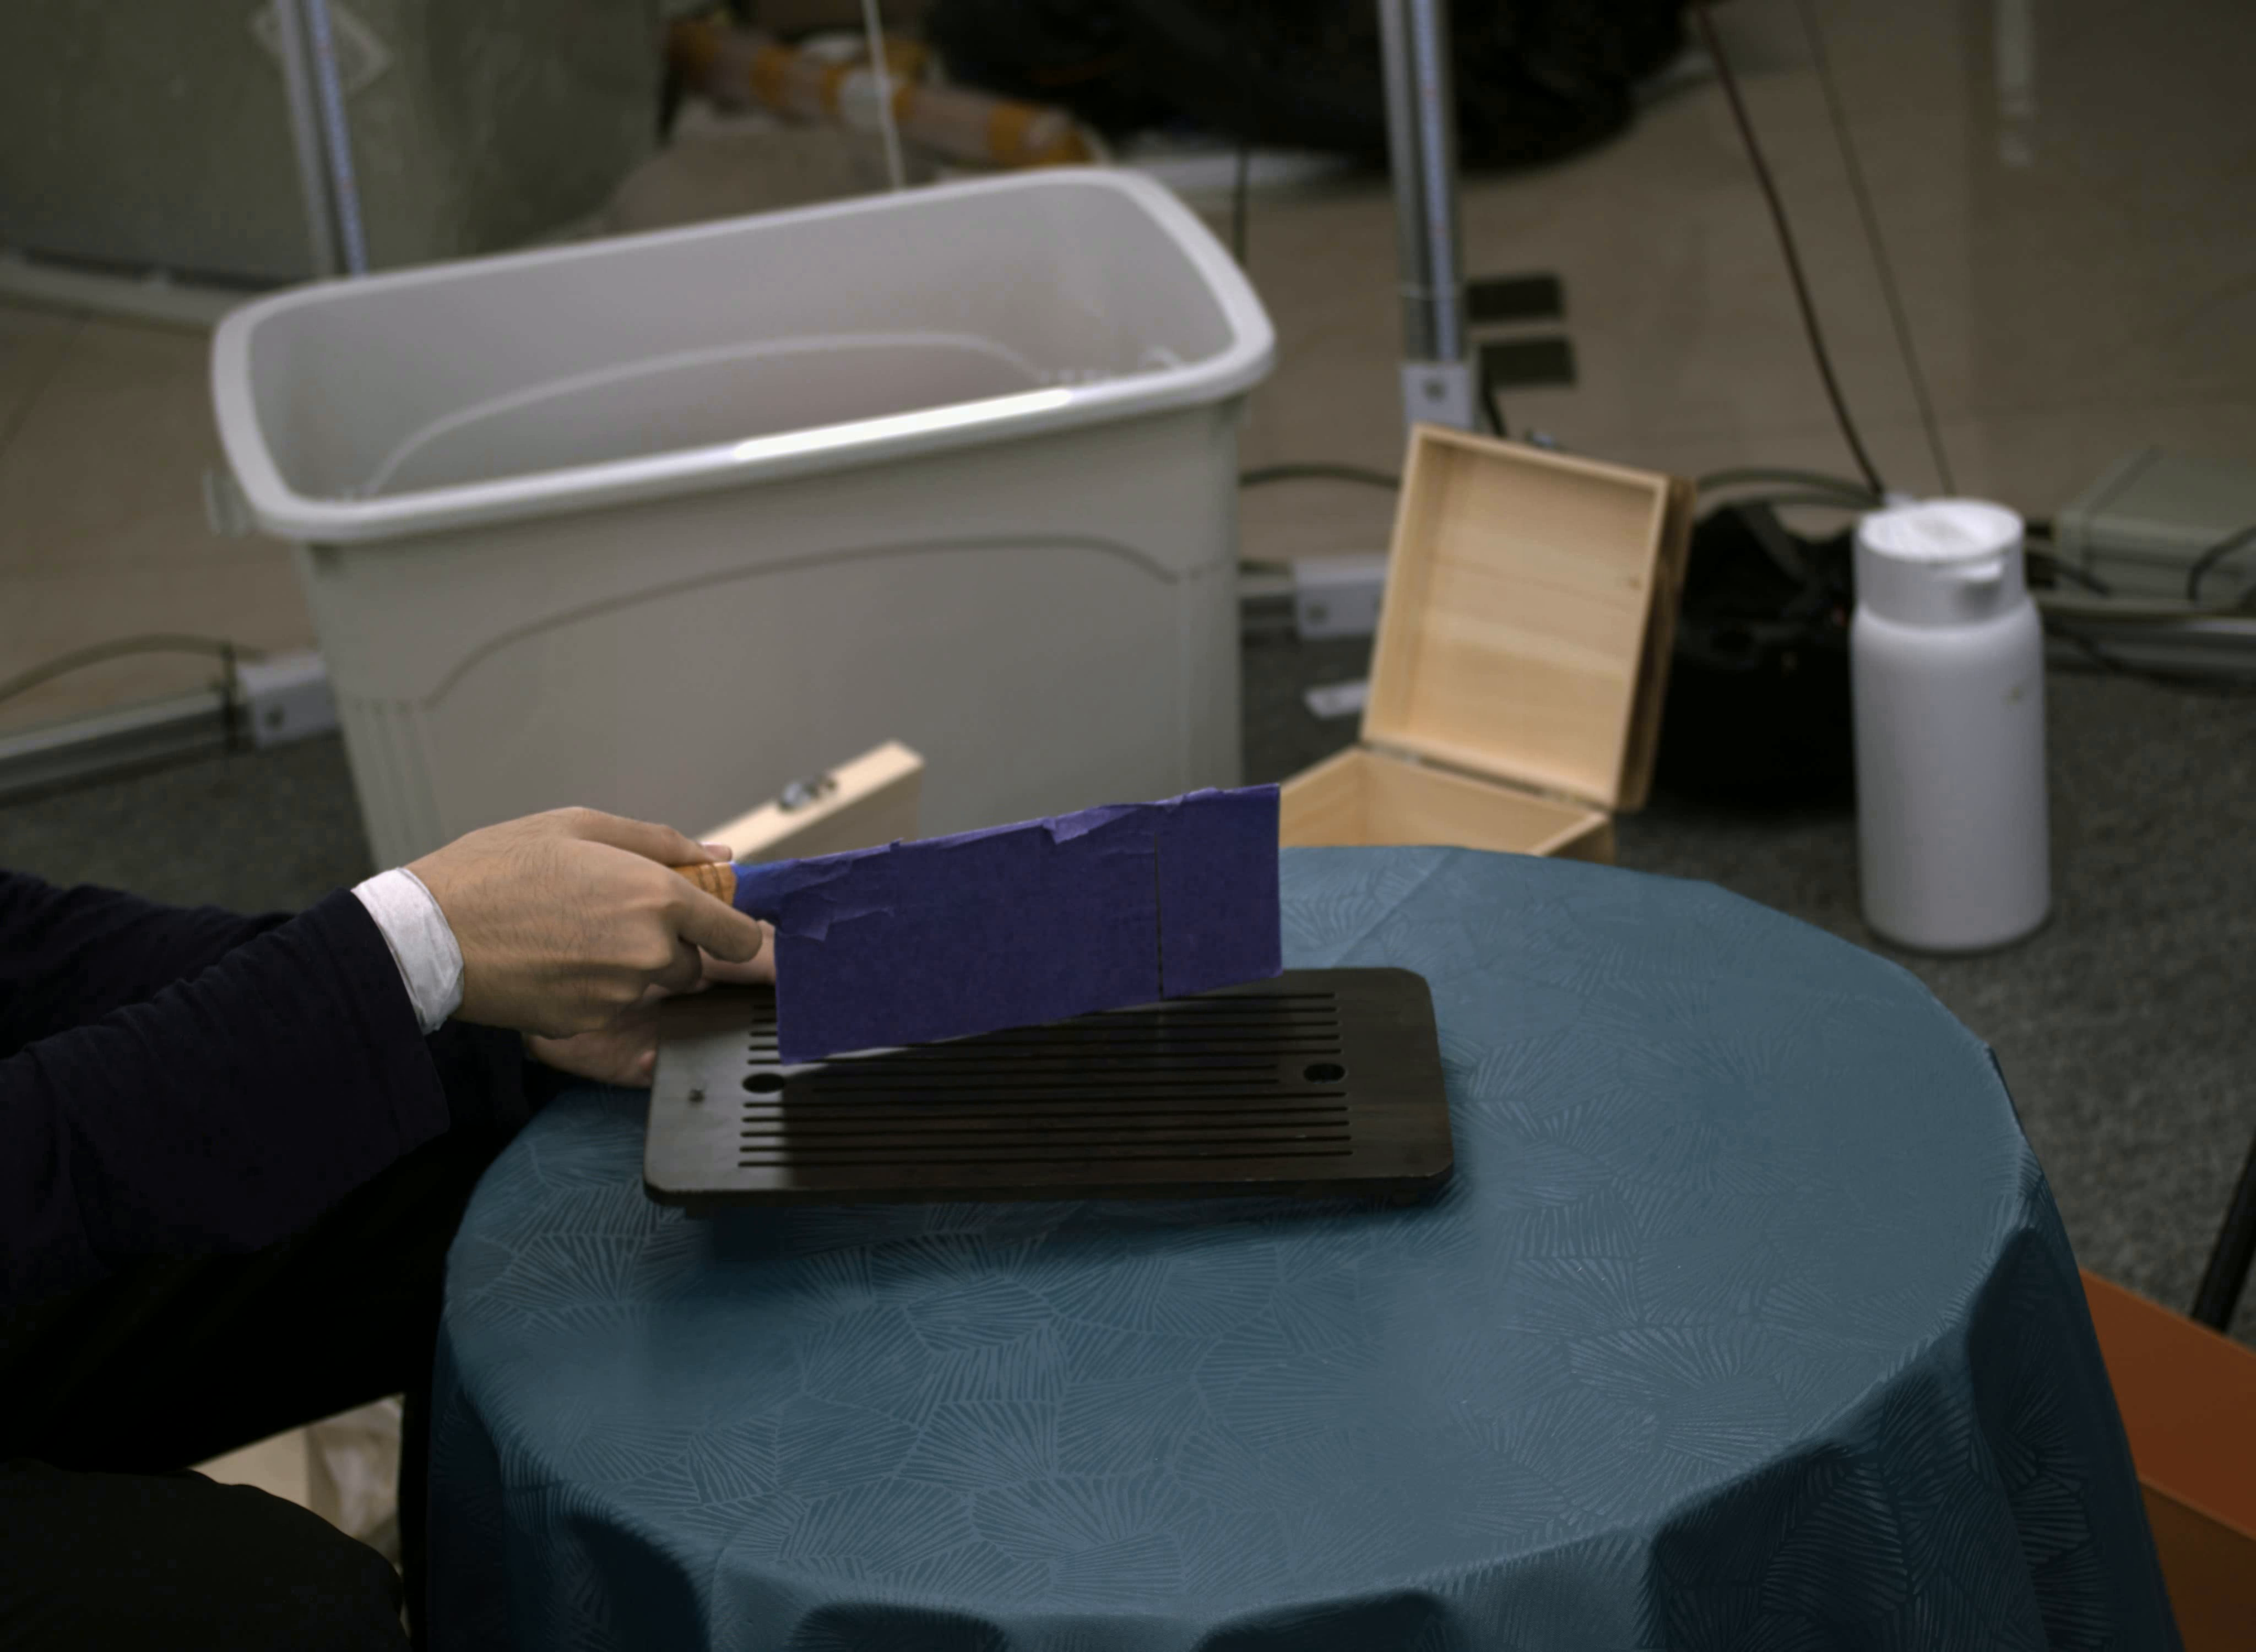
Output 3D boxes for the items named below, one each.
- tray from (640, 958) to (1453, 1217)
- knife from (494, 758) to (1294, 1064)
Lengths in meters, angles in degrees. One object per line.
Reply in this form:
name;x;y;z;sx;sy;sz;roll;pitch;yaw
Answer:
tray;-0.032;0.101;2.185;0.305;0.019;0.167;-2;27;-1
knife;-0.084;0.045;2.172;0.314;0.105;0.032;-9;30;-14
